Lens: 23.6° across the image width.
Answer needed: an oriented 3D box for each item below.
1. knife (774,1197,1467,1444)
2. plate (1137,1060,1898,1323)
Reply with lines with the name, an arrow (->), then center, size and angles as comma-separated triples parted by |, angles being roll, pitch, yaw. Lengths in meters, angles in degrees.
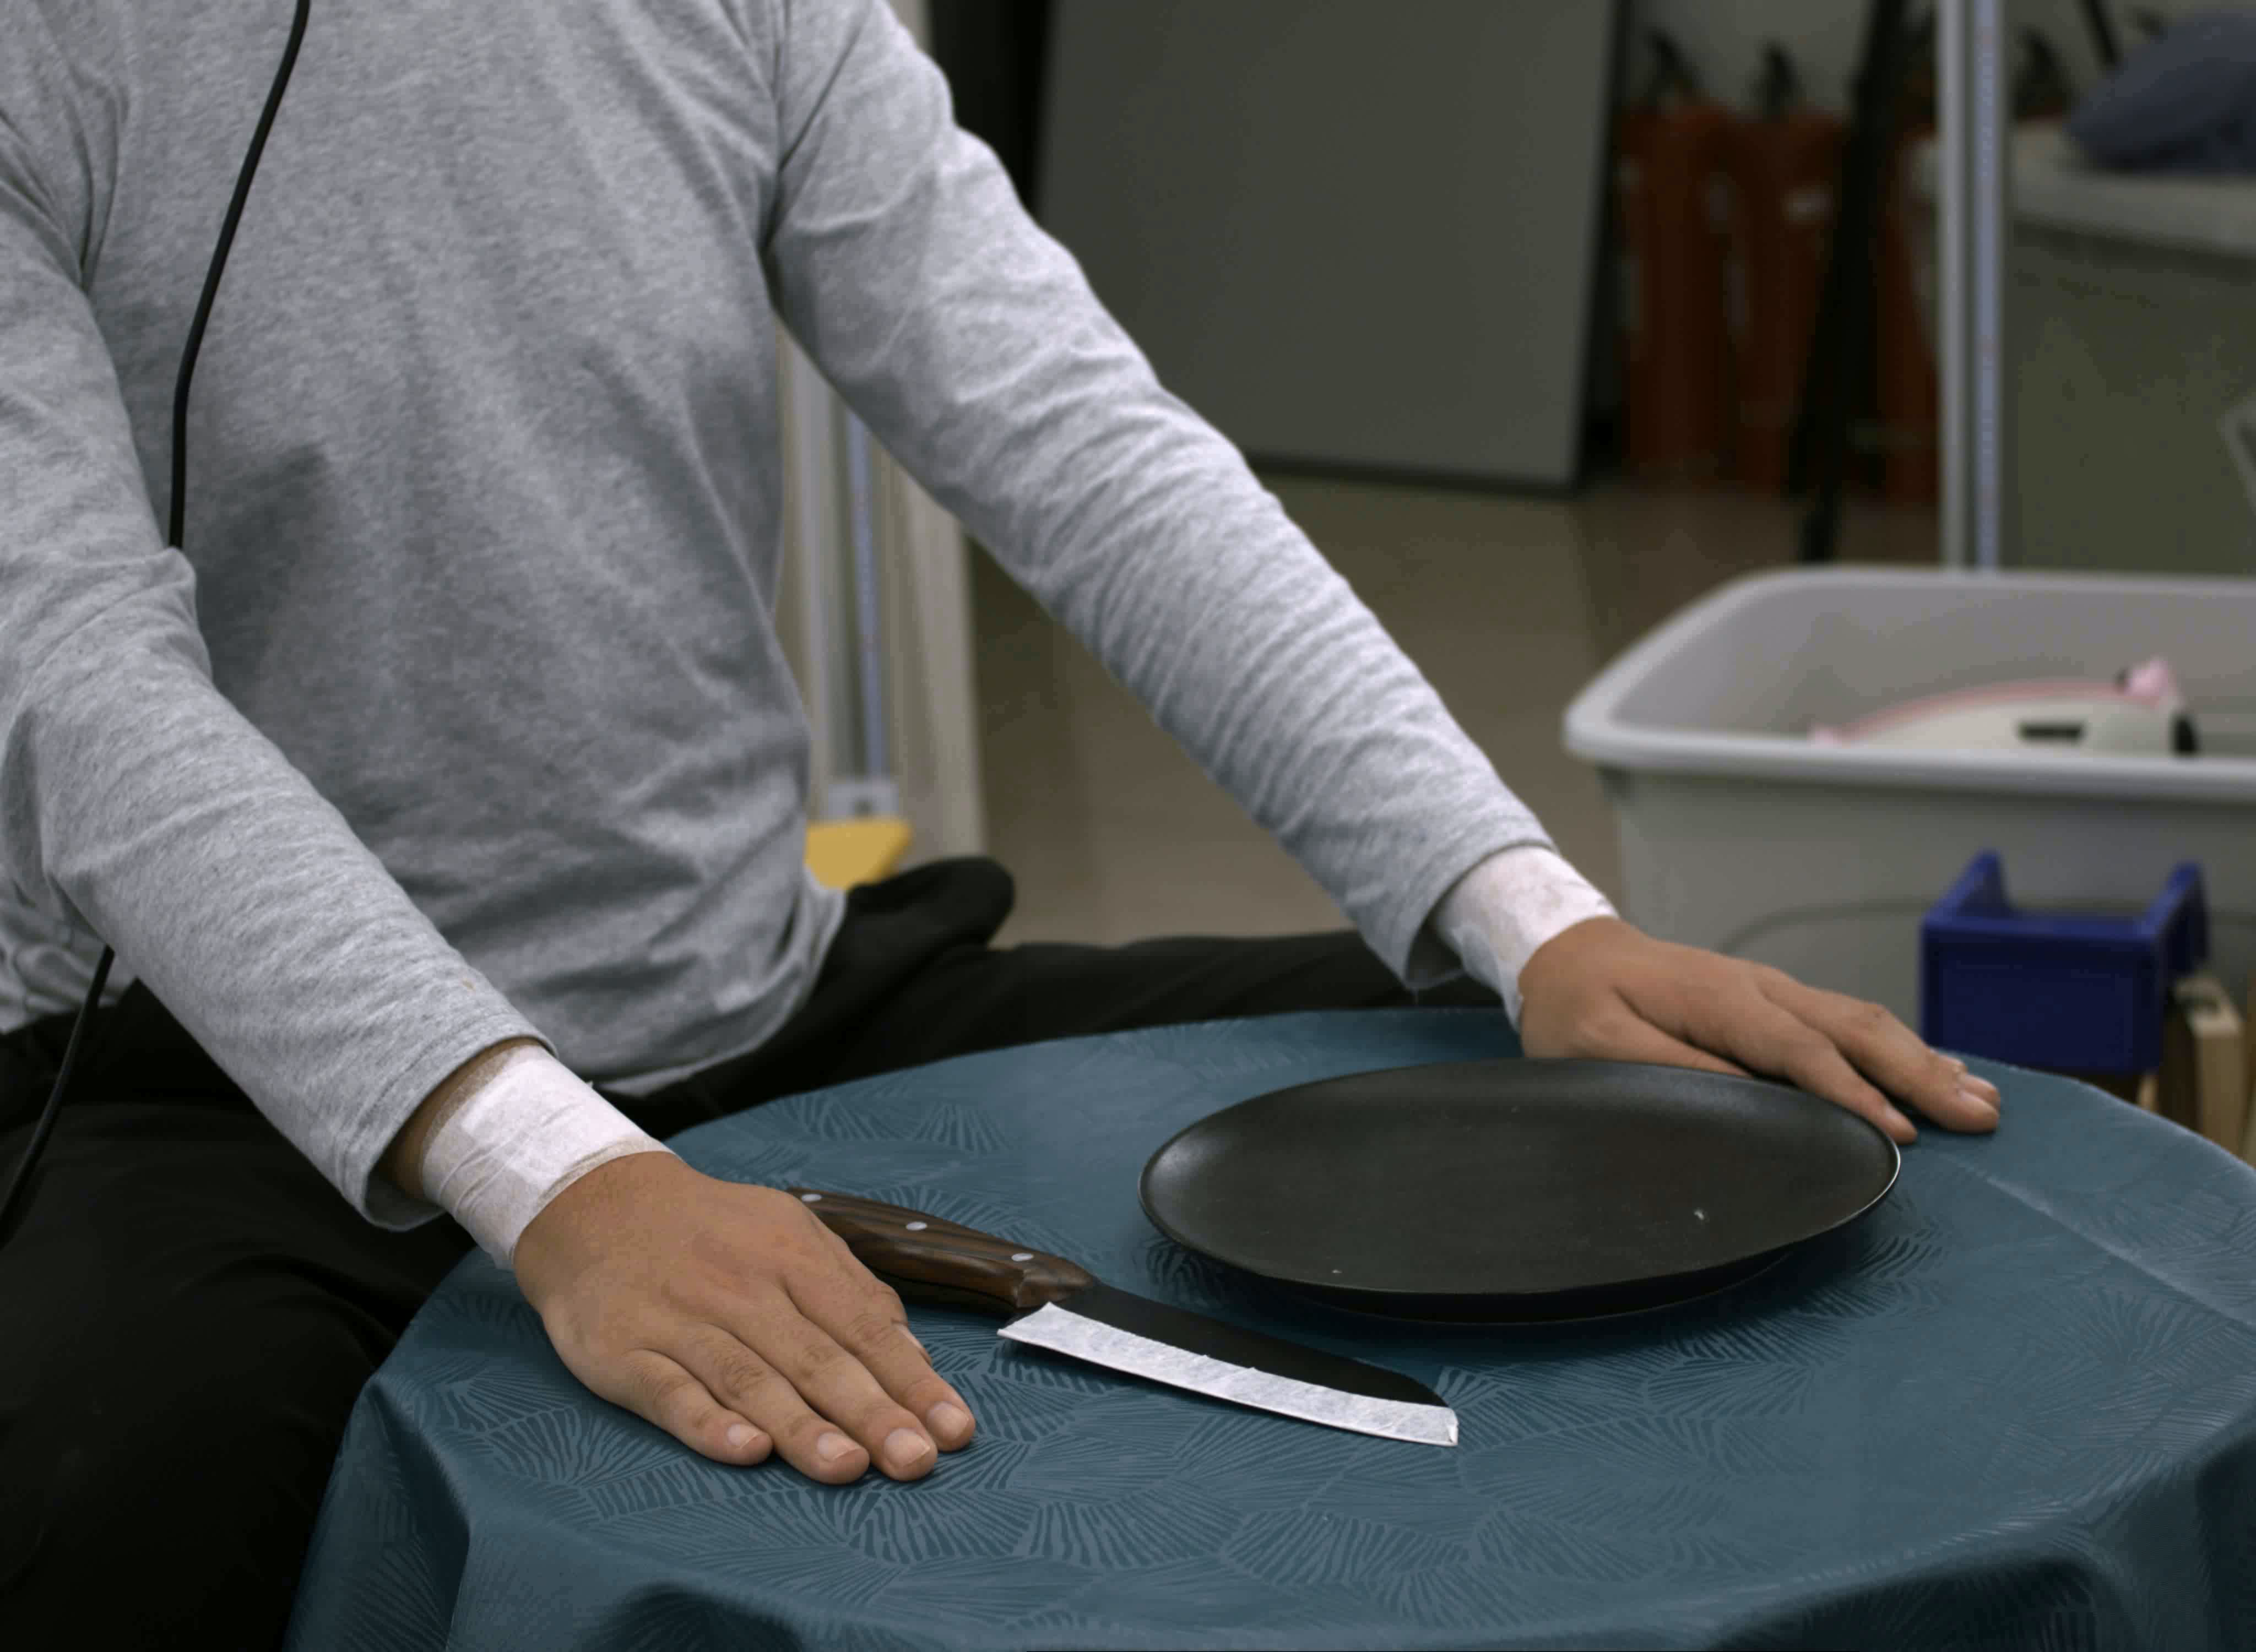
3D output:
knife -> -0.007, 0.151, 1.626 | 0.292, 0.020, 0.049 | 13, 26, 44
plate -> 0.123, 0.118, 1.704 | 0.241, 0.024, 0.245 | -4, 13, 0
